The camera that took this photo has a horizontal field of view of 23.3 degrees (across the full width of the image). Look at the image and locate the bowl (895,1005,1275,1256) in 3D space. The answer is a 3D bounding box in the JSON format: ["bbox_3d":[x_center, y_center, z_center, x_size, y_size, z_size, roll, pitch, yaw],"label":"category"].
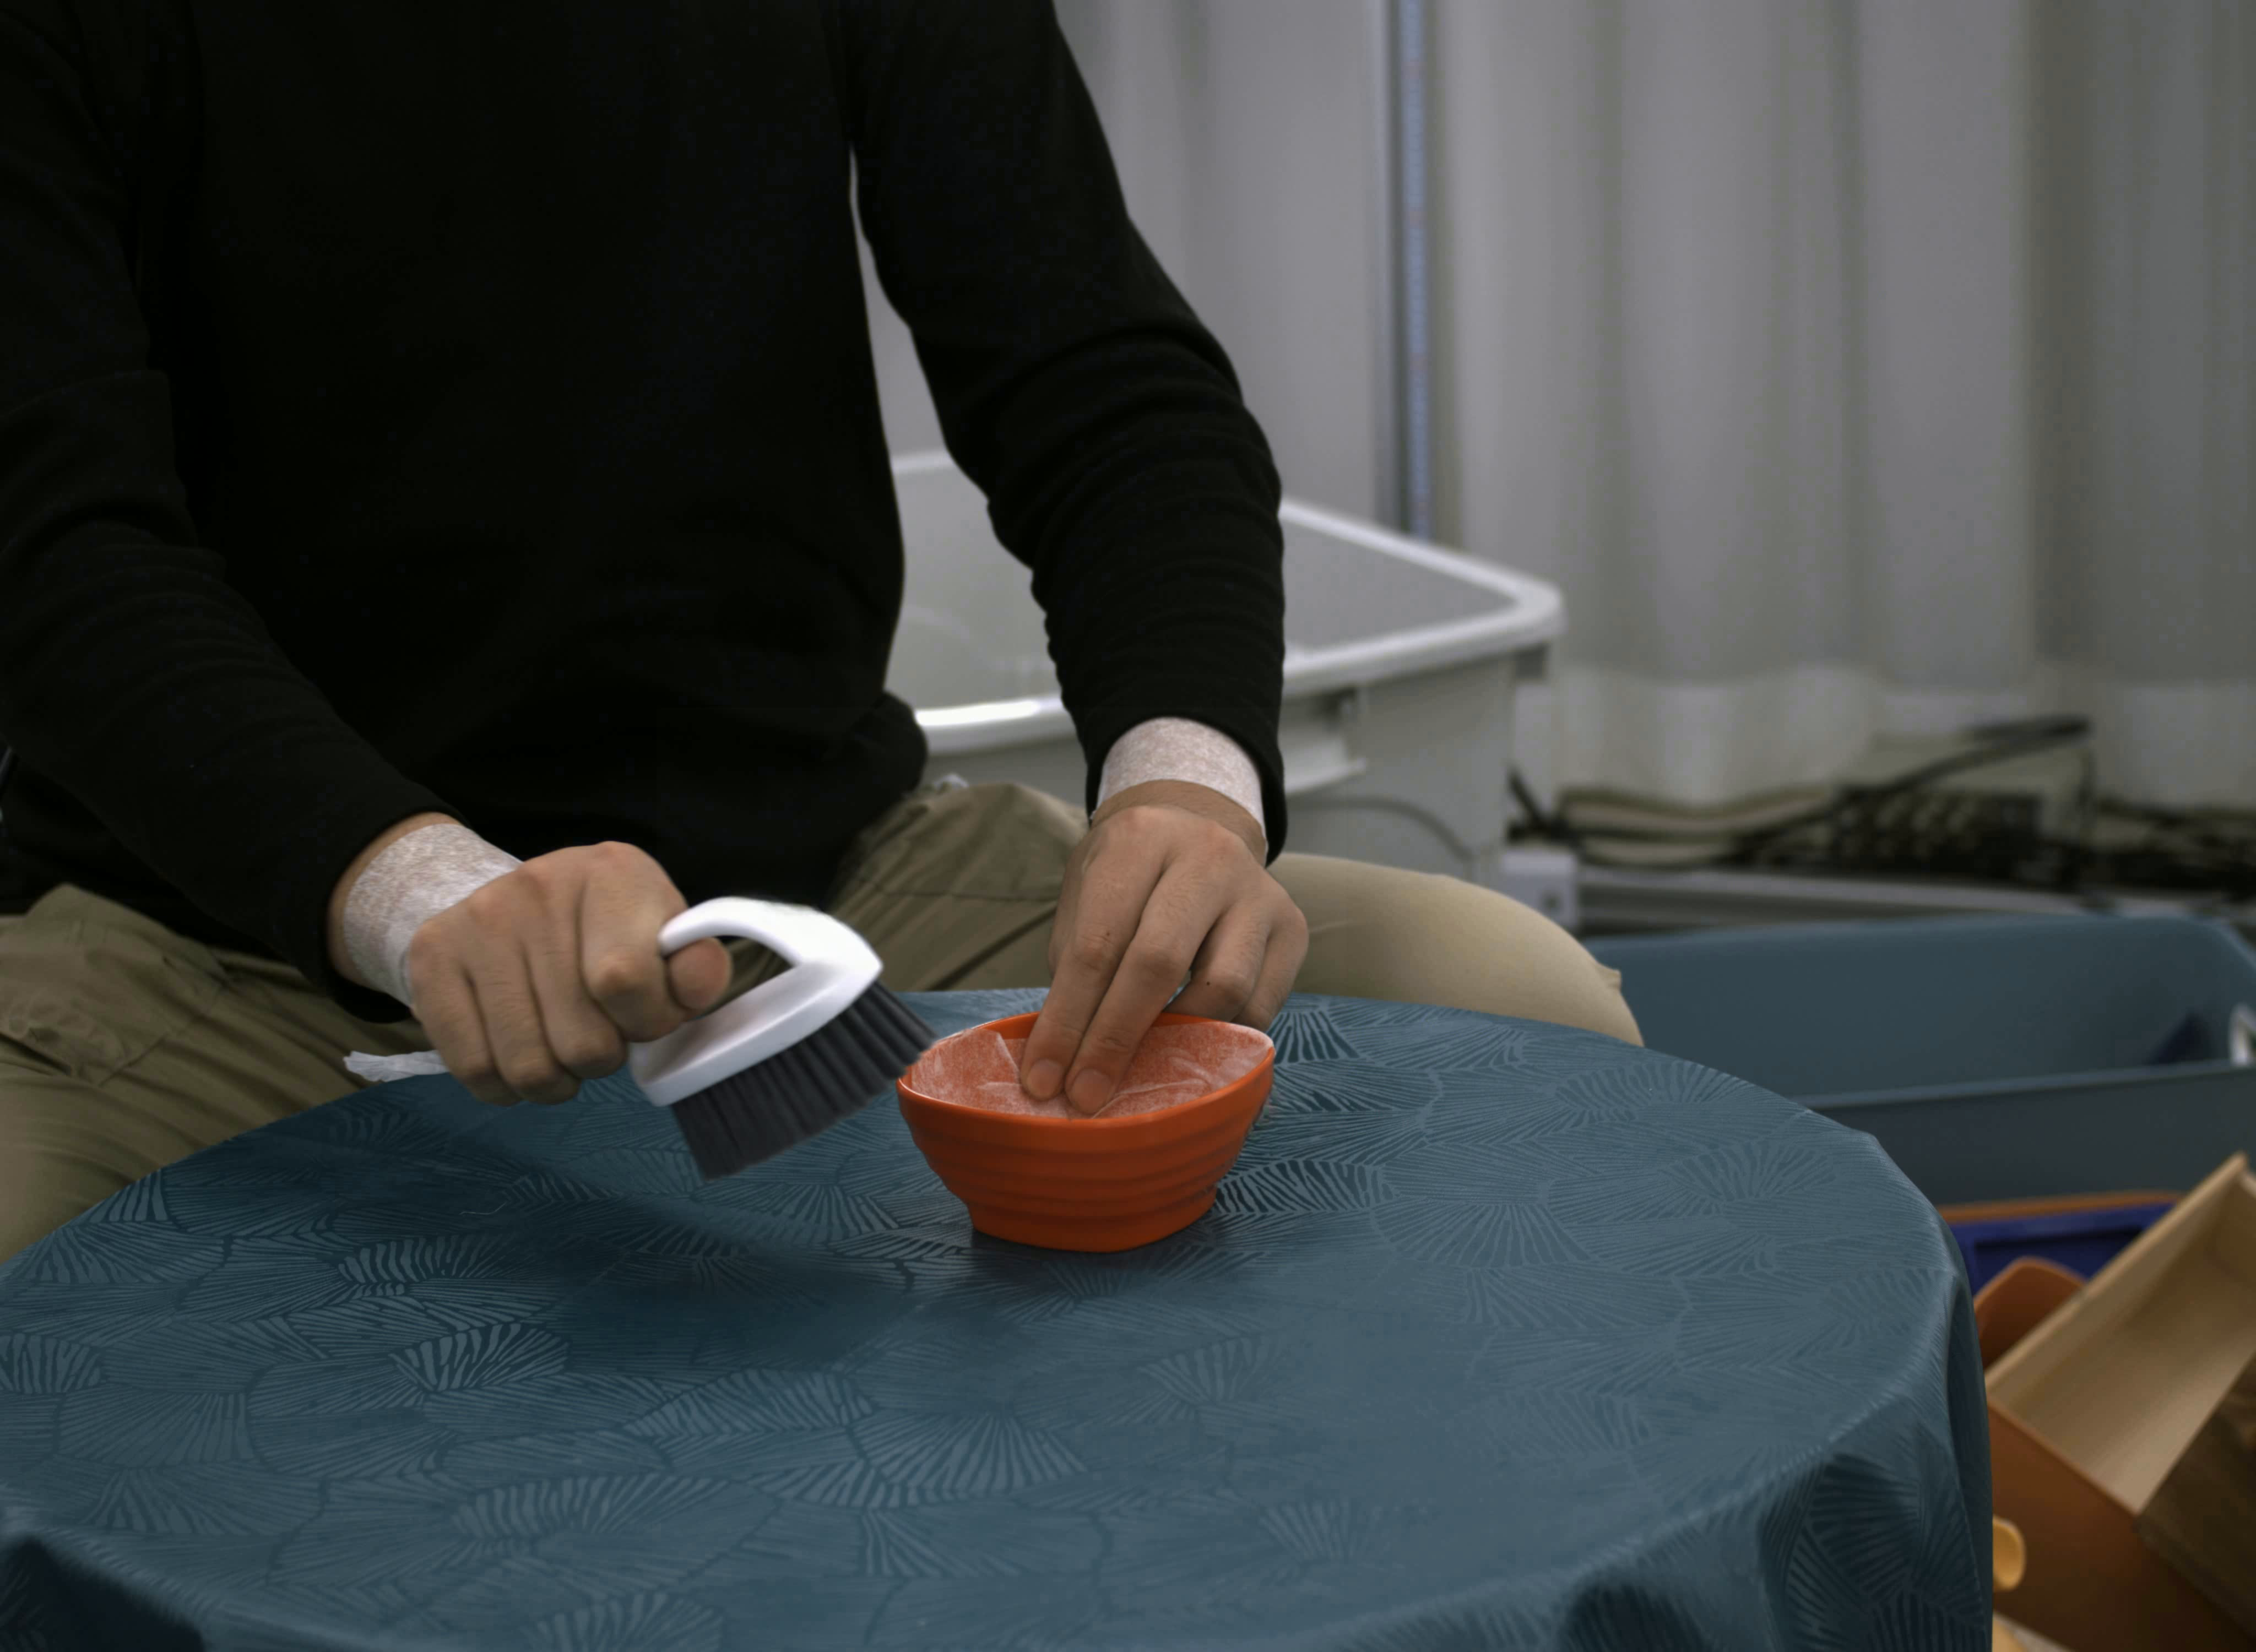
[{"bbox_3d":[-0.012,0.096,1.688,0.118,0.051,0.120,-2,16,0],"label":"bowl"}]

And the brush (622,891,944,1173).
[{"bbox_3d":[-0.110,0.055,1.623,0.099,0.072,0.050,-26,16,47],"label":"brush"}]
